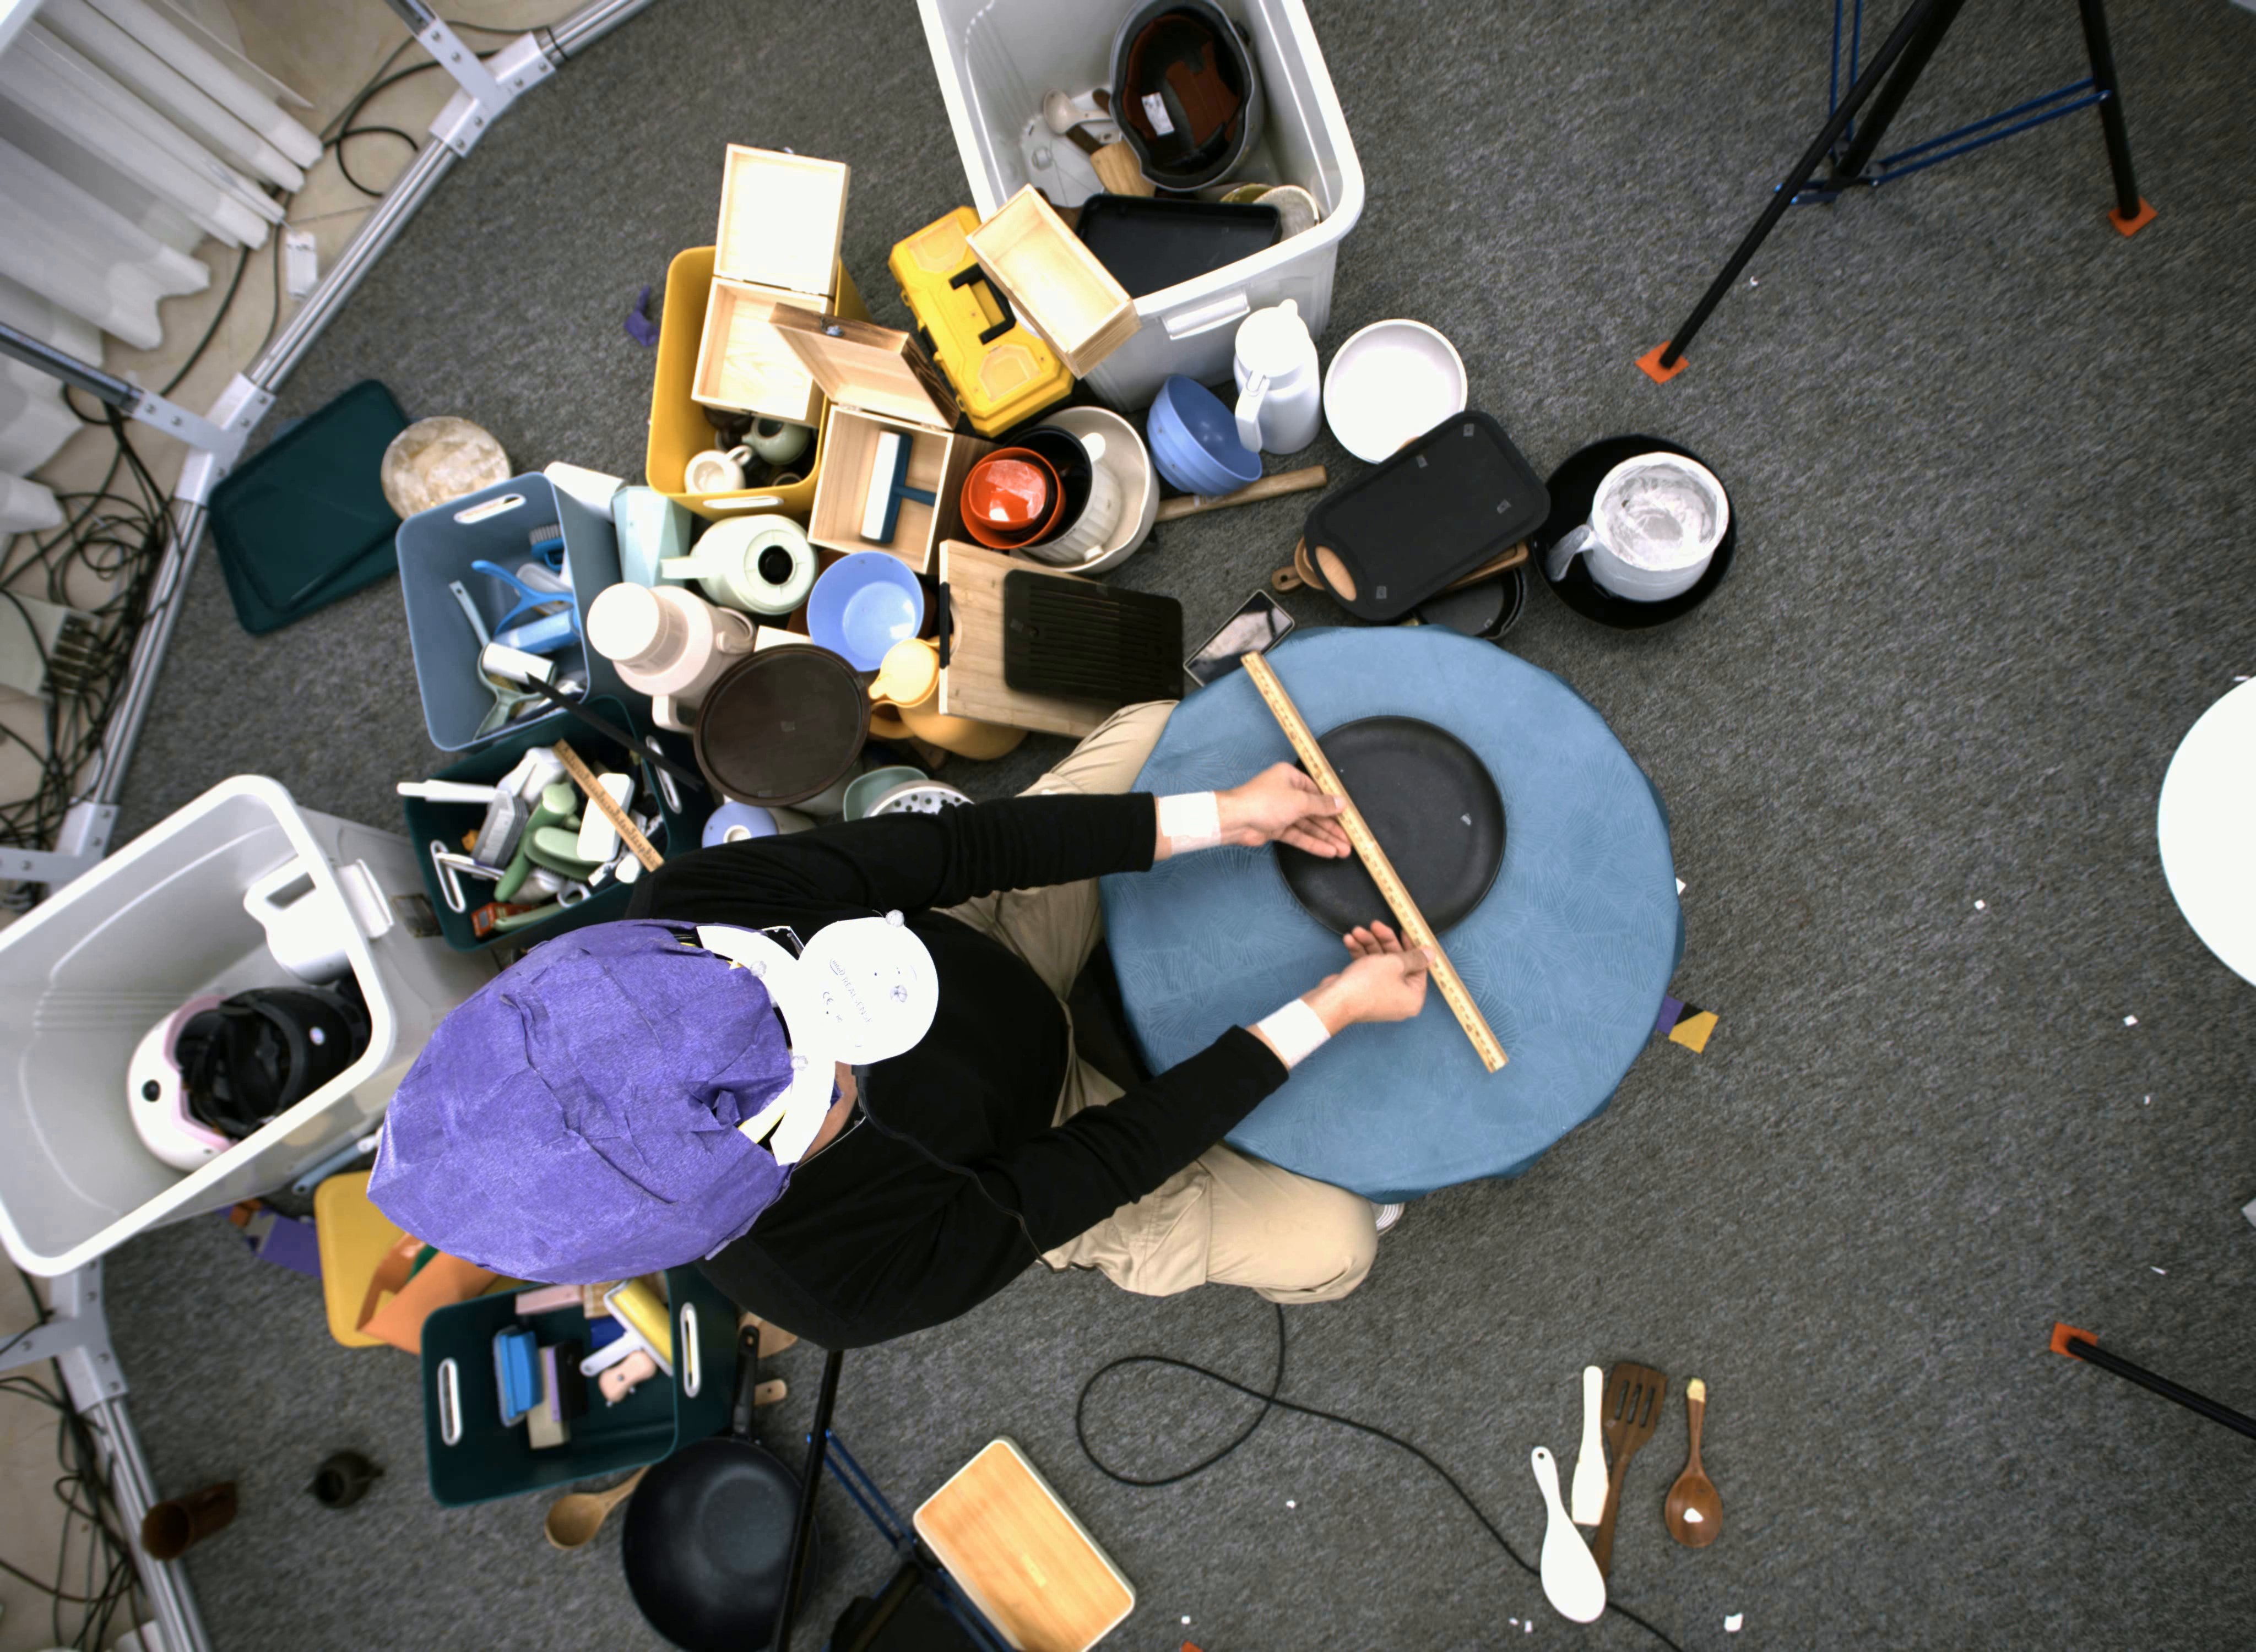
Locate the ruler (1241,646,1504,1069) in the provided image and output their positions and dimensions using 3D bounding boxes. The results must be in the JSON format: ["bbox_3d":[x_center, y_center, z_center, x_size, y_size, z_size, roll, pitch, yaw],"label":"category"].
[{"bbox_3d":[0.250,0.026,1.429,0.026,0.006,0.497,-27,81,-20],"label":"ruler"}]

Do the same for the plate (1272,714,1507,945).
[{"bbox_3d":[0.274,0.003,1.451,0.245,0.023,0.243,-1,87,11],"label":"plate"}]
